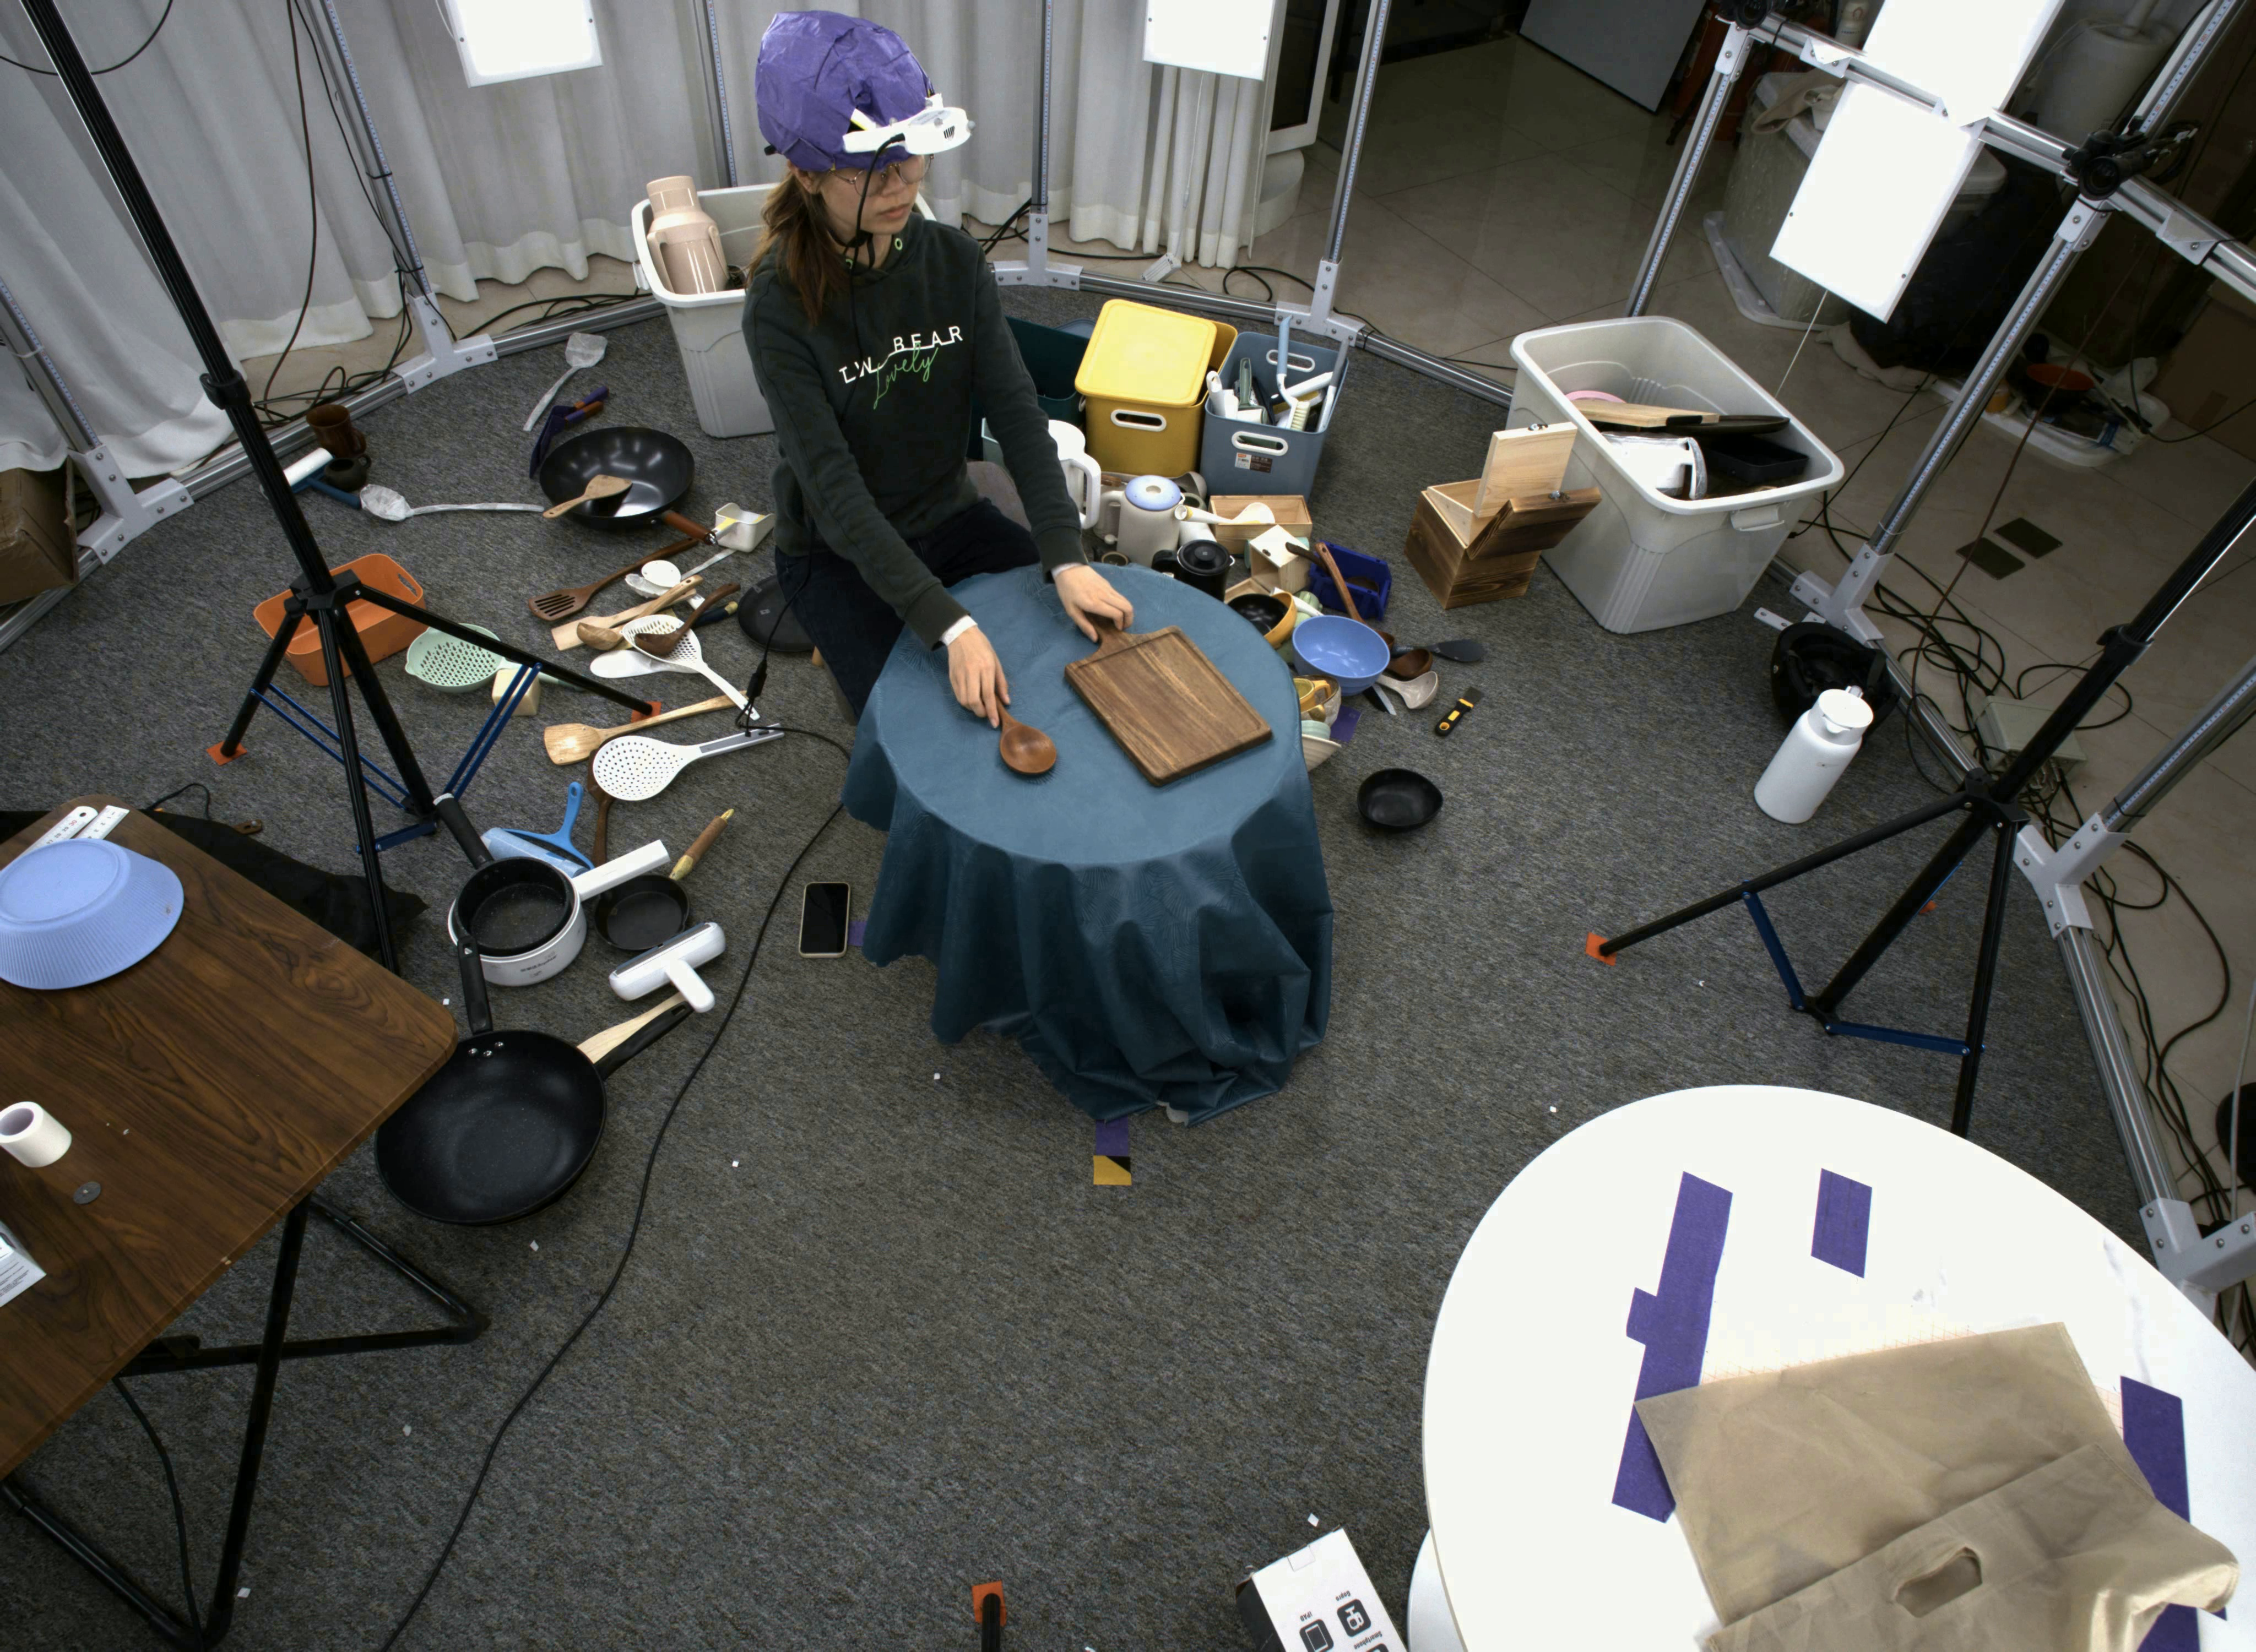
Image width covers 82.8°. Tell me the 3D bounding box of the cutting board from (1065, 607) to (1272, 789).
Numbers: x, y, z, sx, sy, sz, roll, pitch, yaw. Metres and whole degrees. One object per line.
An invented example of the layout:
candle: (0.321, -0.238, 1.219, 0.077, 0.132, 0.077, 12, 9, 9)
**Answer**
cutting board: (0.030, -0.207, 1.856, 0.202, 0.022, 0.359, -24, 54, -21)

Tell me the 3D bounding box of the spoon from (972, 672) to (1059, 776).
spoon: (-0.164, -0.143, 1.786, 0.075, 0.017, 0.220, -21, 54, -19)
